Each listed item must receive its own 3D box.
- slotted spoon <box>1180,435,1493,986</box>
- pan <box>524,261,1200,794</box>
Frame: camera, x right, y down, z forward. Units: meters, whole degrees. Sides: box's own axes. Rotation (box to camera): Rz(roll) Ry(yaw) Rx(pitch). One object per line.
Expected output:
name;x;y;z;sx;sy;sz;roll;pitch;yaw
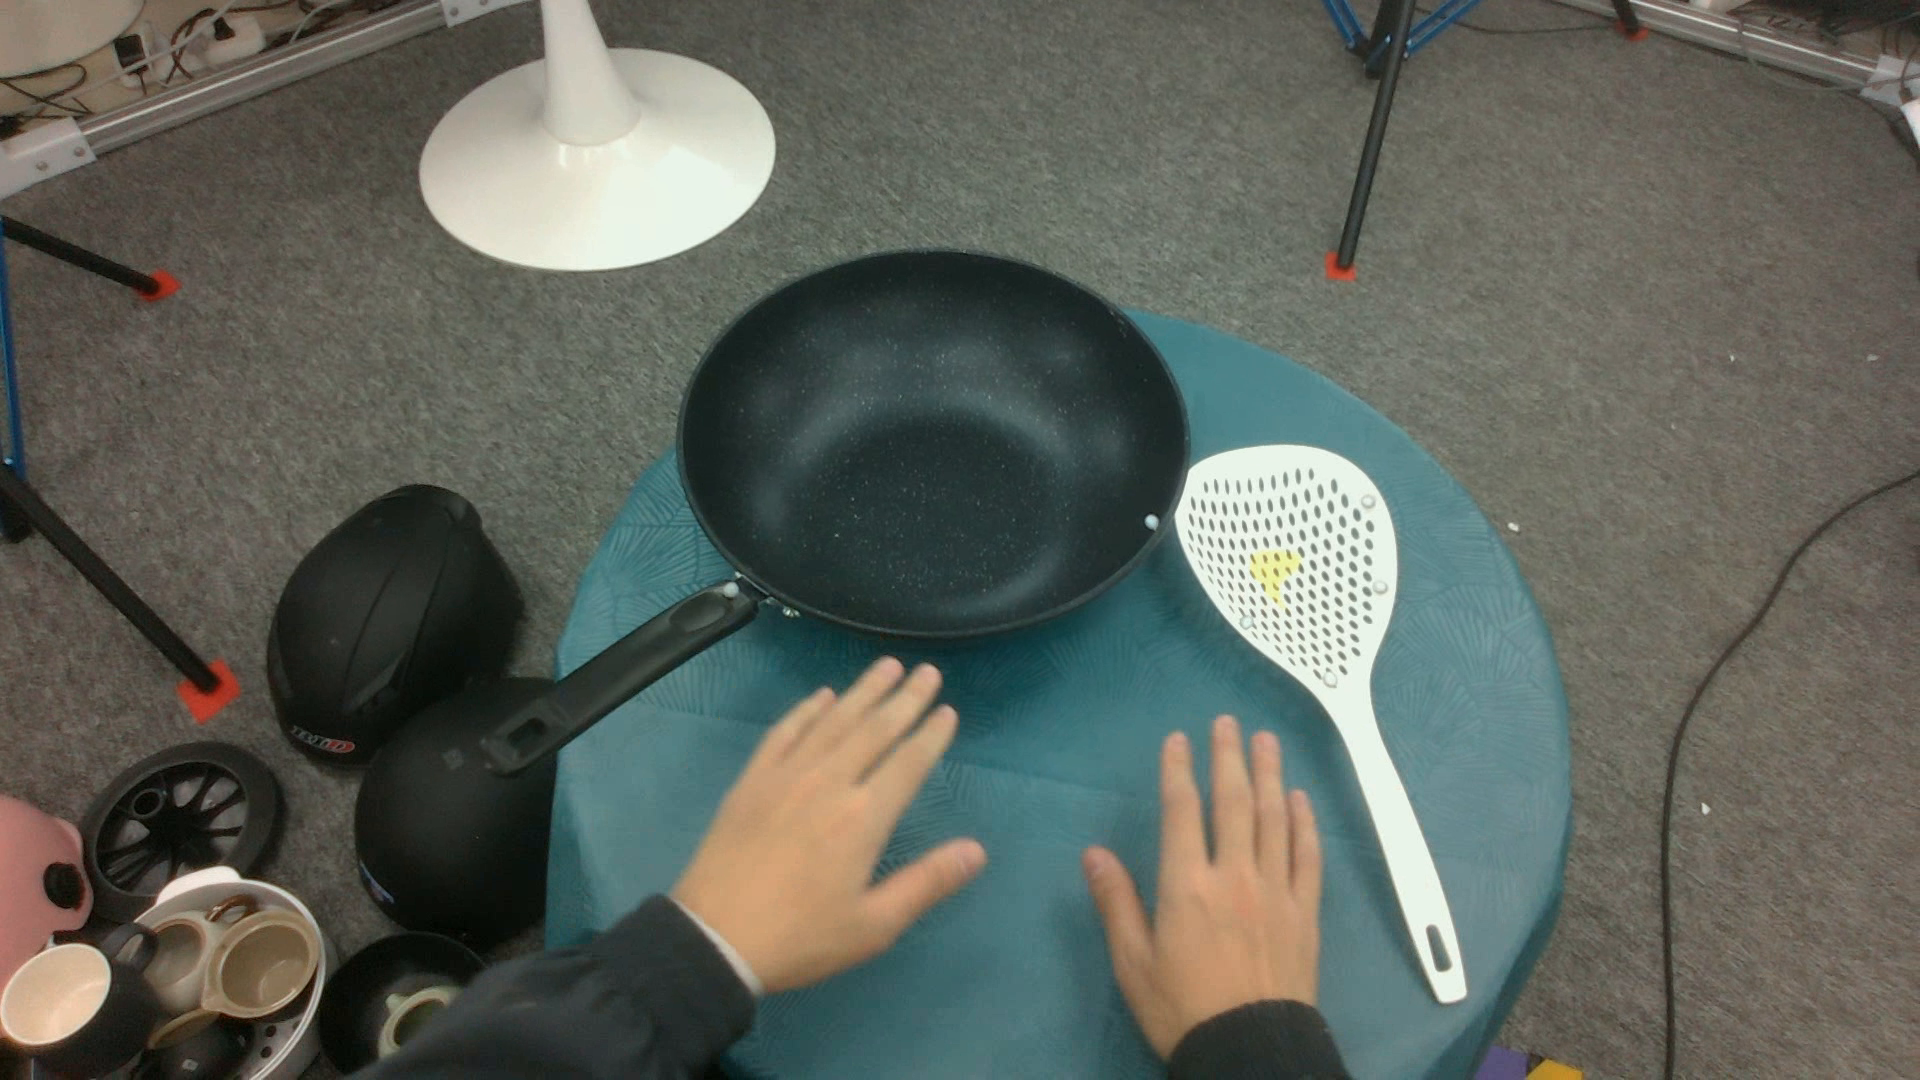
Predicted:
slotted spoon;0.228;0.084;0.803;0.137;0.050;0.349;-9;53;-8
pan;-0.060;0.001;0.830;0.310;0.111;0.479;31;59;23
